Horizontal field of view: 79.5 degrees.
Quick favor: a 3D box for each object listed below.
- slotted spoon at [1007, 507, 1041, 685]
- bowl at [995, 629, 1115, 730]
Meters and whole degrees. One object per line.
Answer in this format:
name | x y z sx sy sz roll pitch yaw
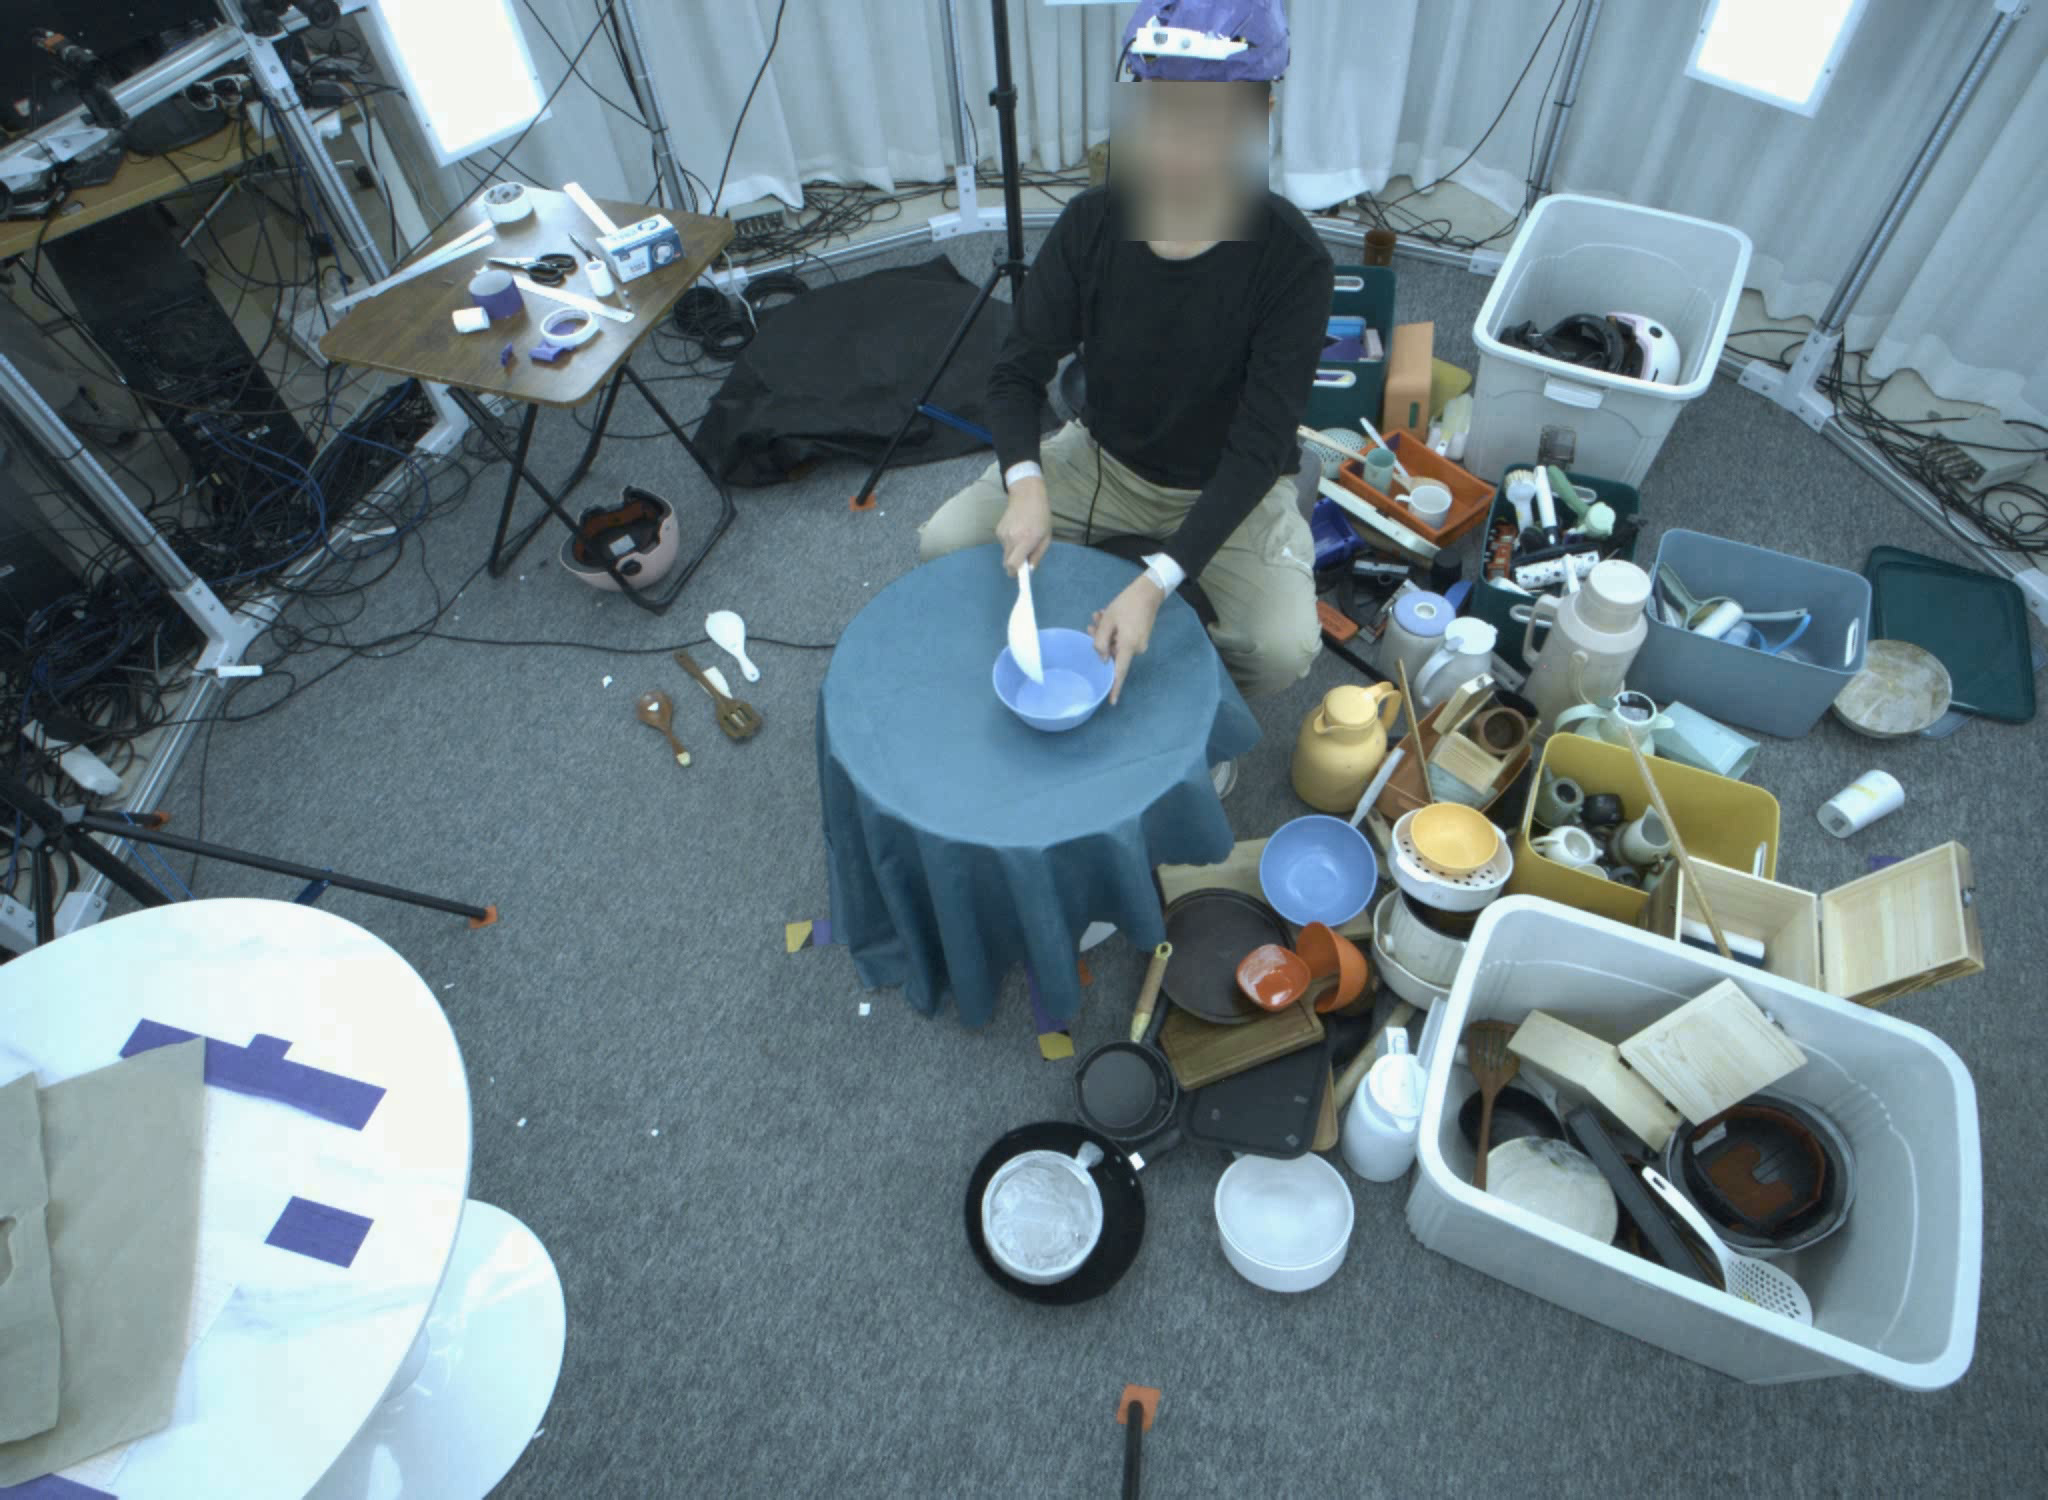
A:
slotted spoon | -0.001 -0.242 1.825 0.045 0.138 0.346 -4 52 5
bowl | 0.046 -0.093 1.808 0.176 0.071 0.174 -1 52 2
